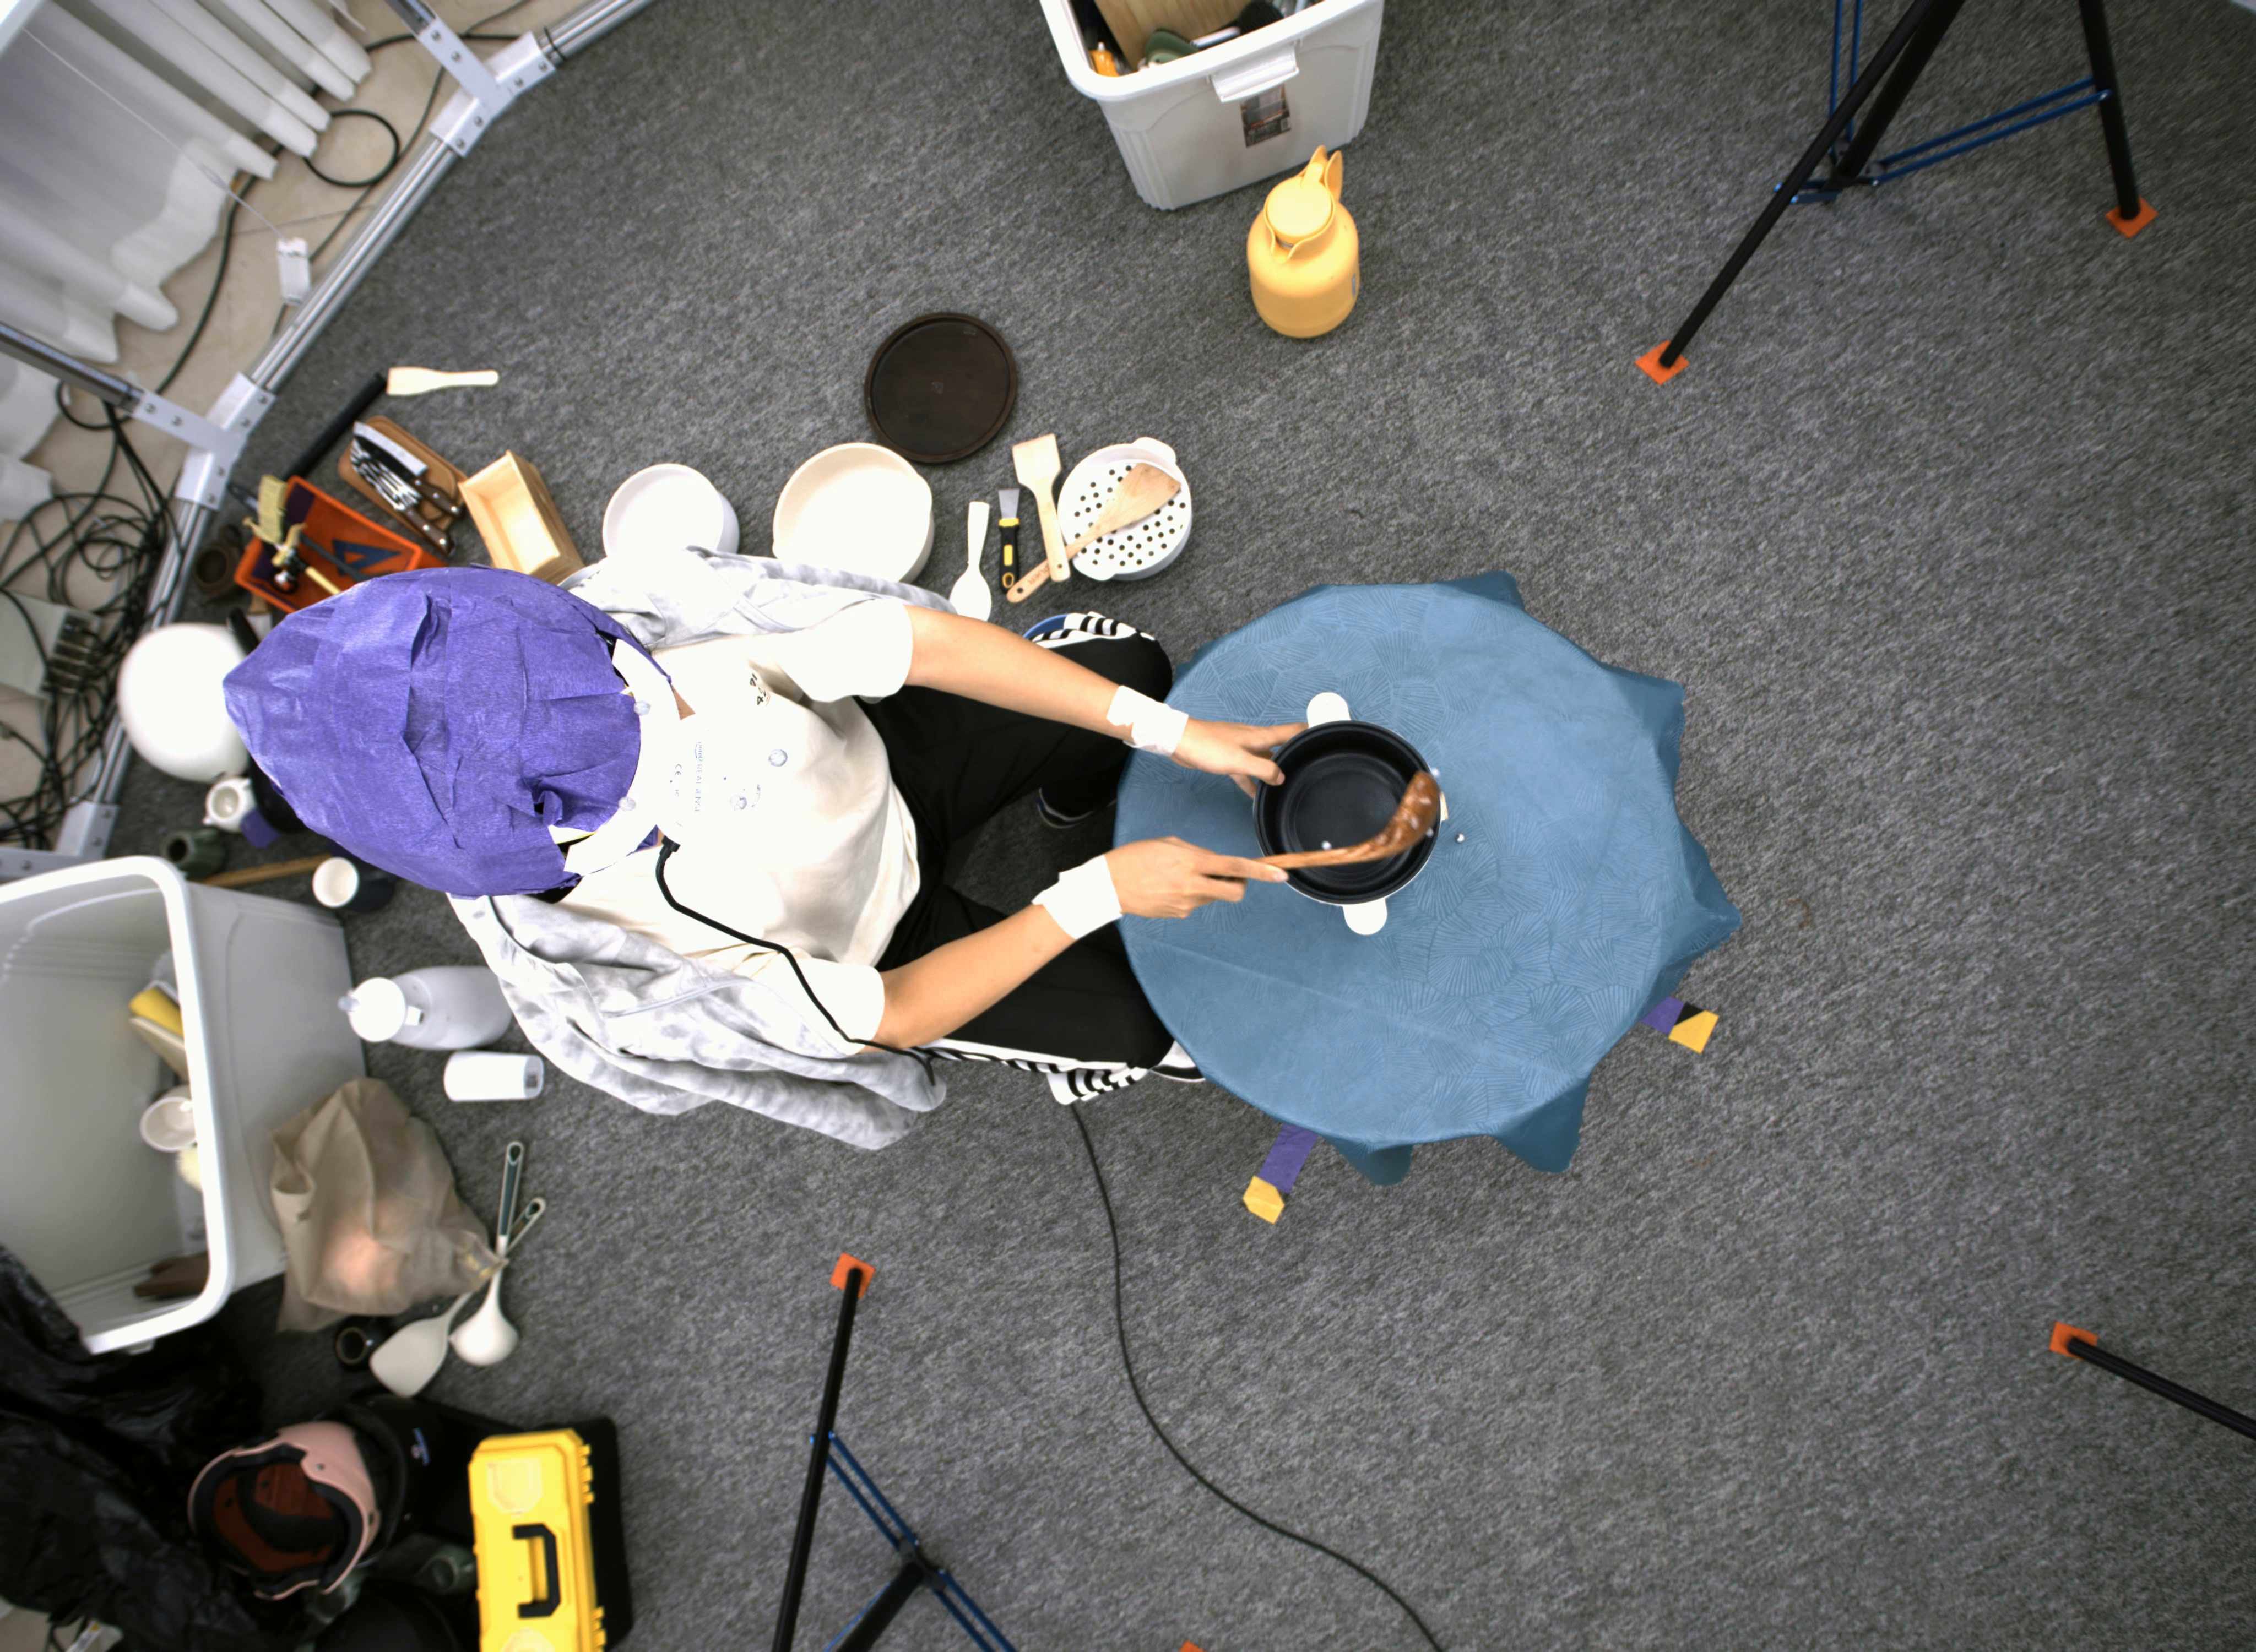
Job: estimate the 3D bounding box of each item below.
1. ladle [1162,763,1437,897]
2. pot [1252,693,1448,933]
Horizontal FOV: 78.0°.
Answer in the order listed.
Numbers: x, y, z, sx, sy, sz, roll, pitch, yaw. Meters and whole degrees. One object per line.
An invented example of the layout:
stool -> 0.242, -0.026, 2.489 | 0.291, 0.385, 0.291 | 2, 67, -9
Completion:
ladle -> 0.157, 0.003, 1.307 | 0.276, 0.082, 0.075 | -12, 75, 17
pot -> 0.228, -0.011, 1.400 | 0.192, 0.142, 0.239 | -12, 85, 13
